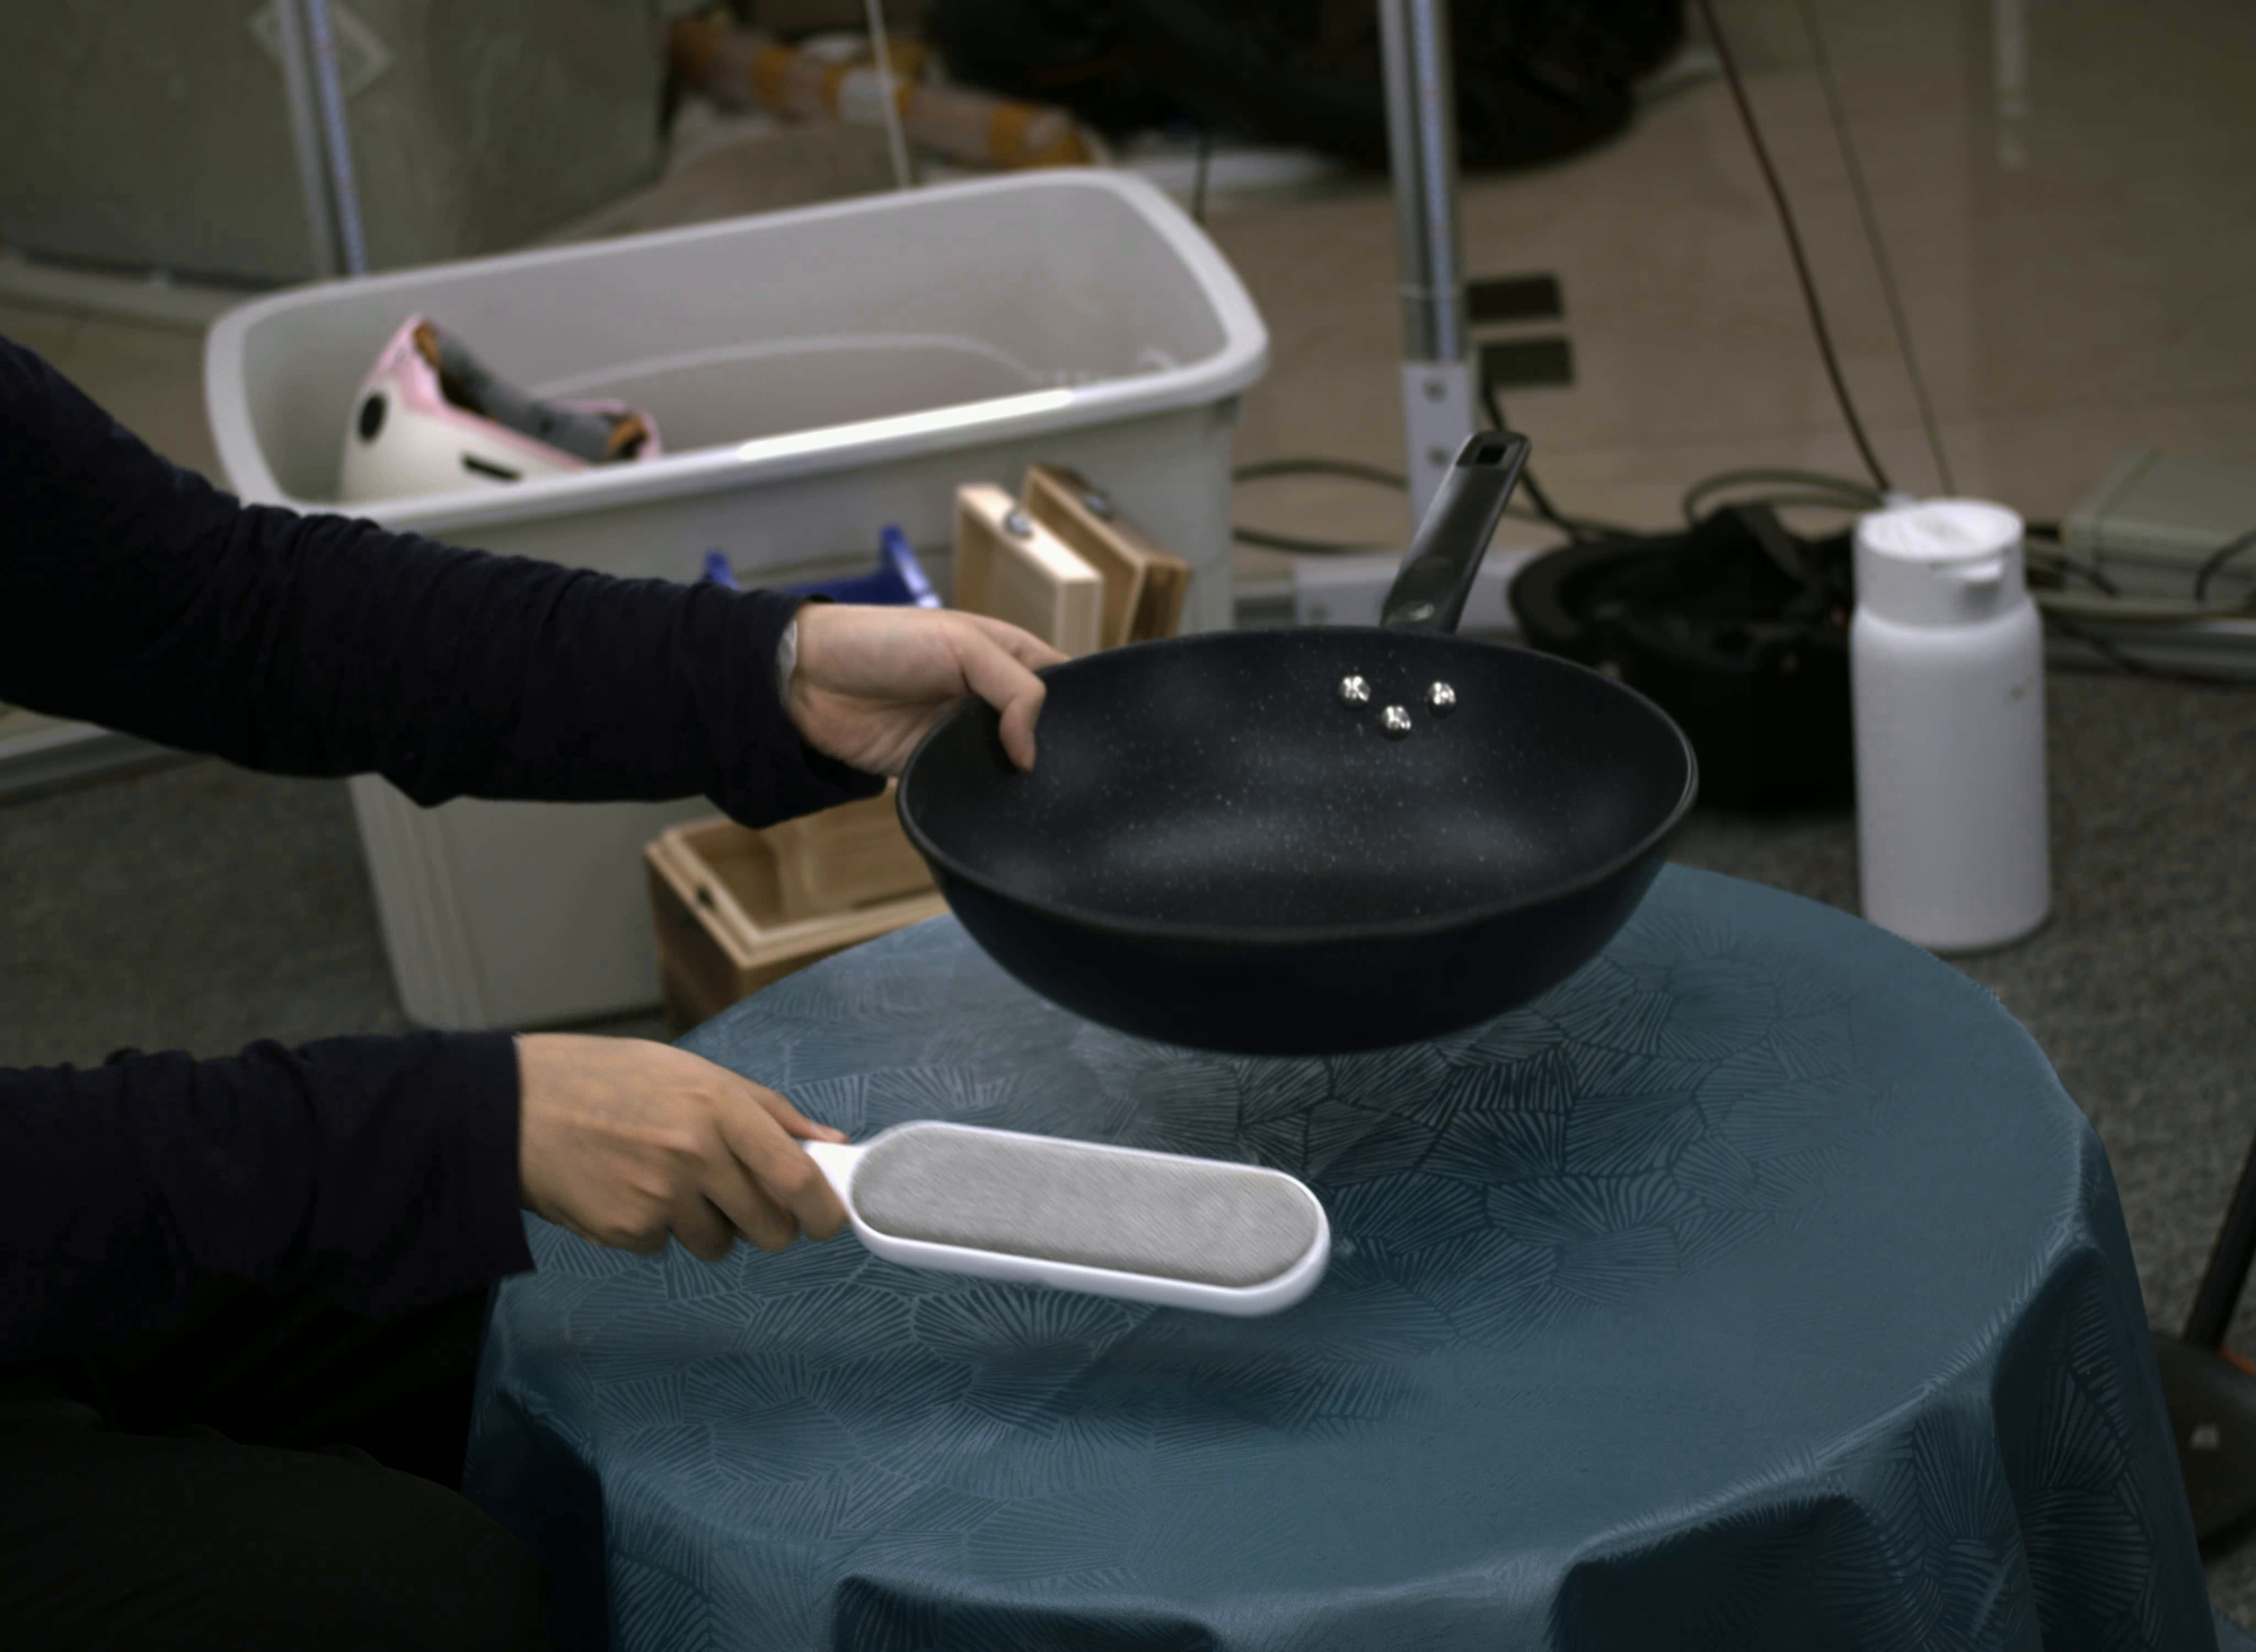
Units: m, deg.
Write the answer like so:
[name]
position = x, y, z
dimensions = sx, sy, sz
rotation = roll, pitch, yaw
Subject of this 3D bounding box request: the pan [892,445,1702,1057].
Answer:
[pan]
position = 0.090, -0.026, 2.253
dimensions = 0.309, 0.113, 0.471
rotation = 6, 24, 16

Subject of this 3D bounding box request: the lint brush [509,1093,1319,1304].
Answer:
[lint brush]
position = -0.081, 0.126, 2.039
dimensions = 0.308, 0.021, 0.059
rotation = 7, 61, 18
